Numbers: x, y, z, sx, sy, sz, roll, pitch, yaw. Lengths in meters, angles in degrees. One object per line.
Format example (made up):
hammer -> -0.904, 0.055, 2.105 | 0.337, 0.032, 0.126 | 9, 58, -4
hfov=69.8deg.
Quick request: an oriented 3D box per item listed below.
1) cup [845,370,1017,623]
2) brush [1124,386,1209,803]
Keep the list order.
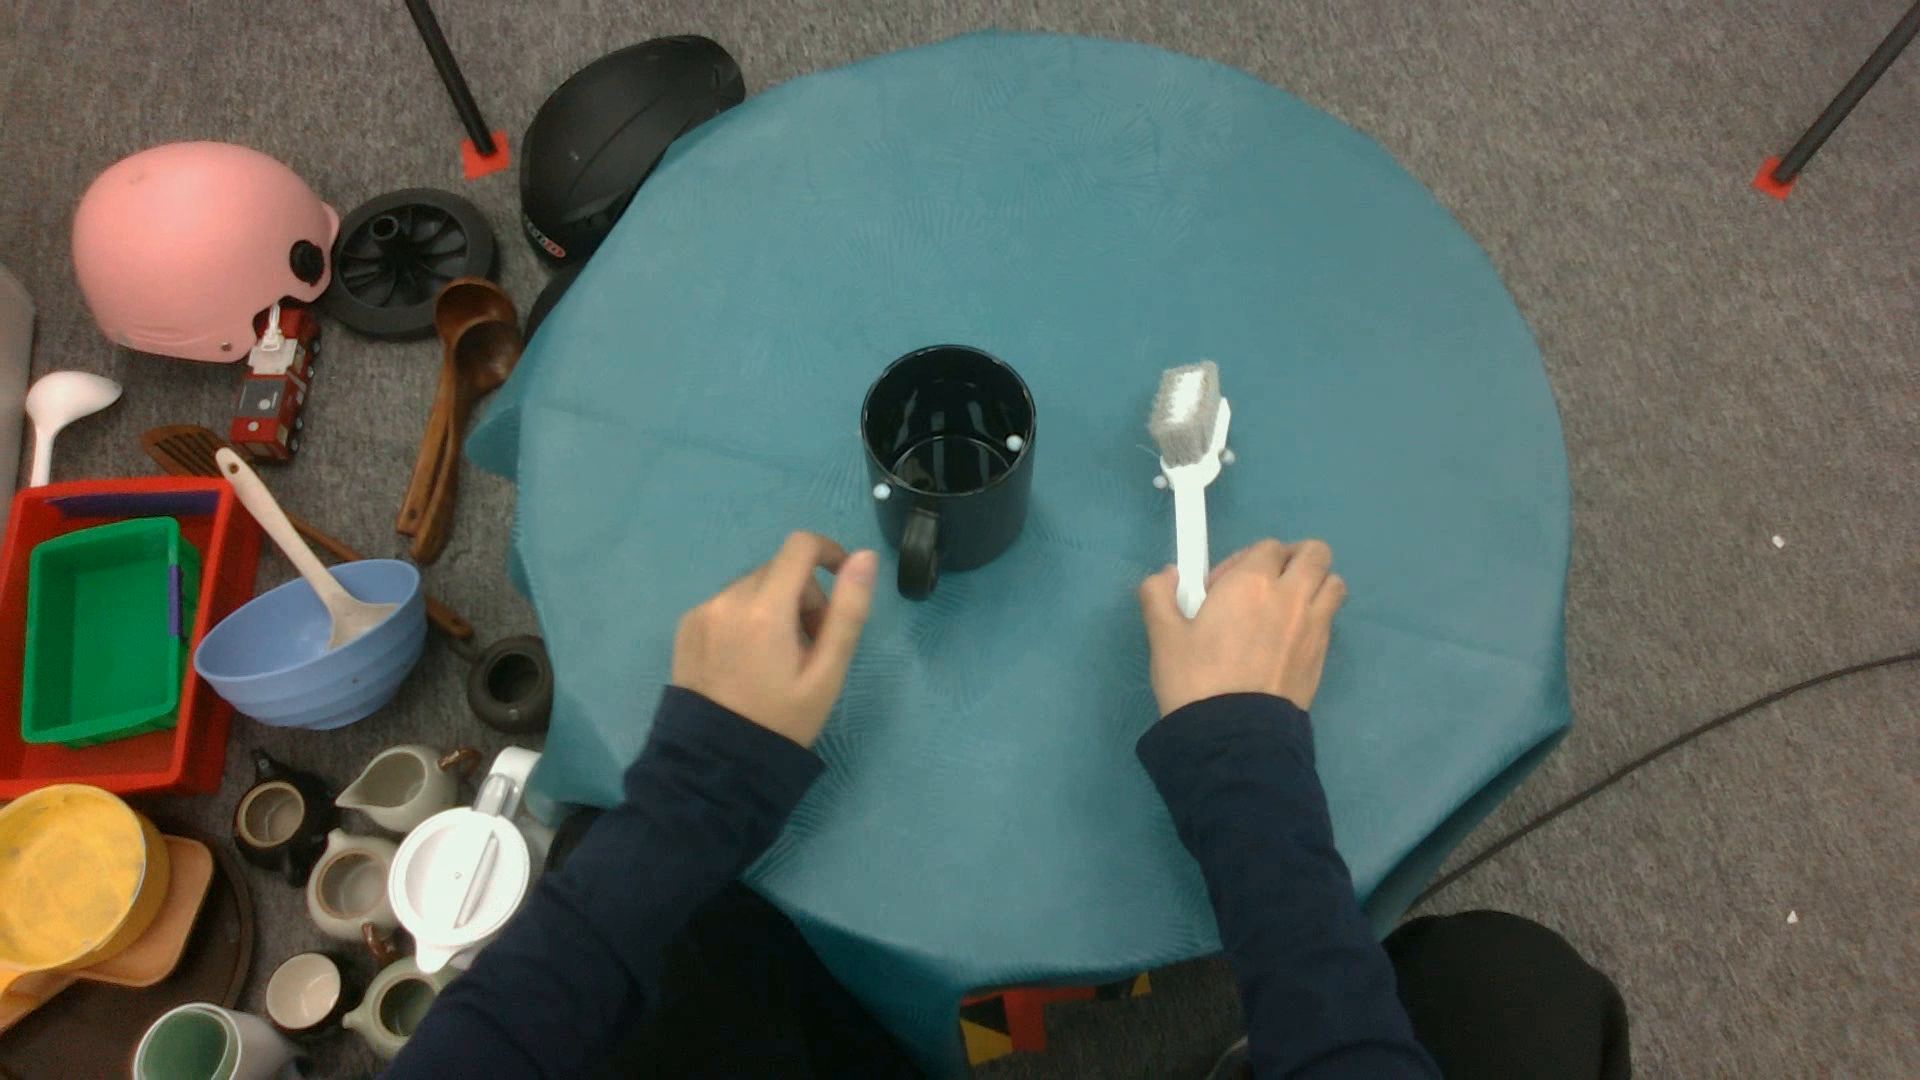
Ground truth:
cup -> -0.021, -0.014, 0.736 | 0.088, 0.105, 0.124 | 16, 68, 5
brush -> 0.104, 0.018, 0.732 | 0.034, 0.050, 0.245 | -5, 54, 24
